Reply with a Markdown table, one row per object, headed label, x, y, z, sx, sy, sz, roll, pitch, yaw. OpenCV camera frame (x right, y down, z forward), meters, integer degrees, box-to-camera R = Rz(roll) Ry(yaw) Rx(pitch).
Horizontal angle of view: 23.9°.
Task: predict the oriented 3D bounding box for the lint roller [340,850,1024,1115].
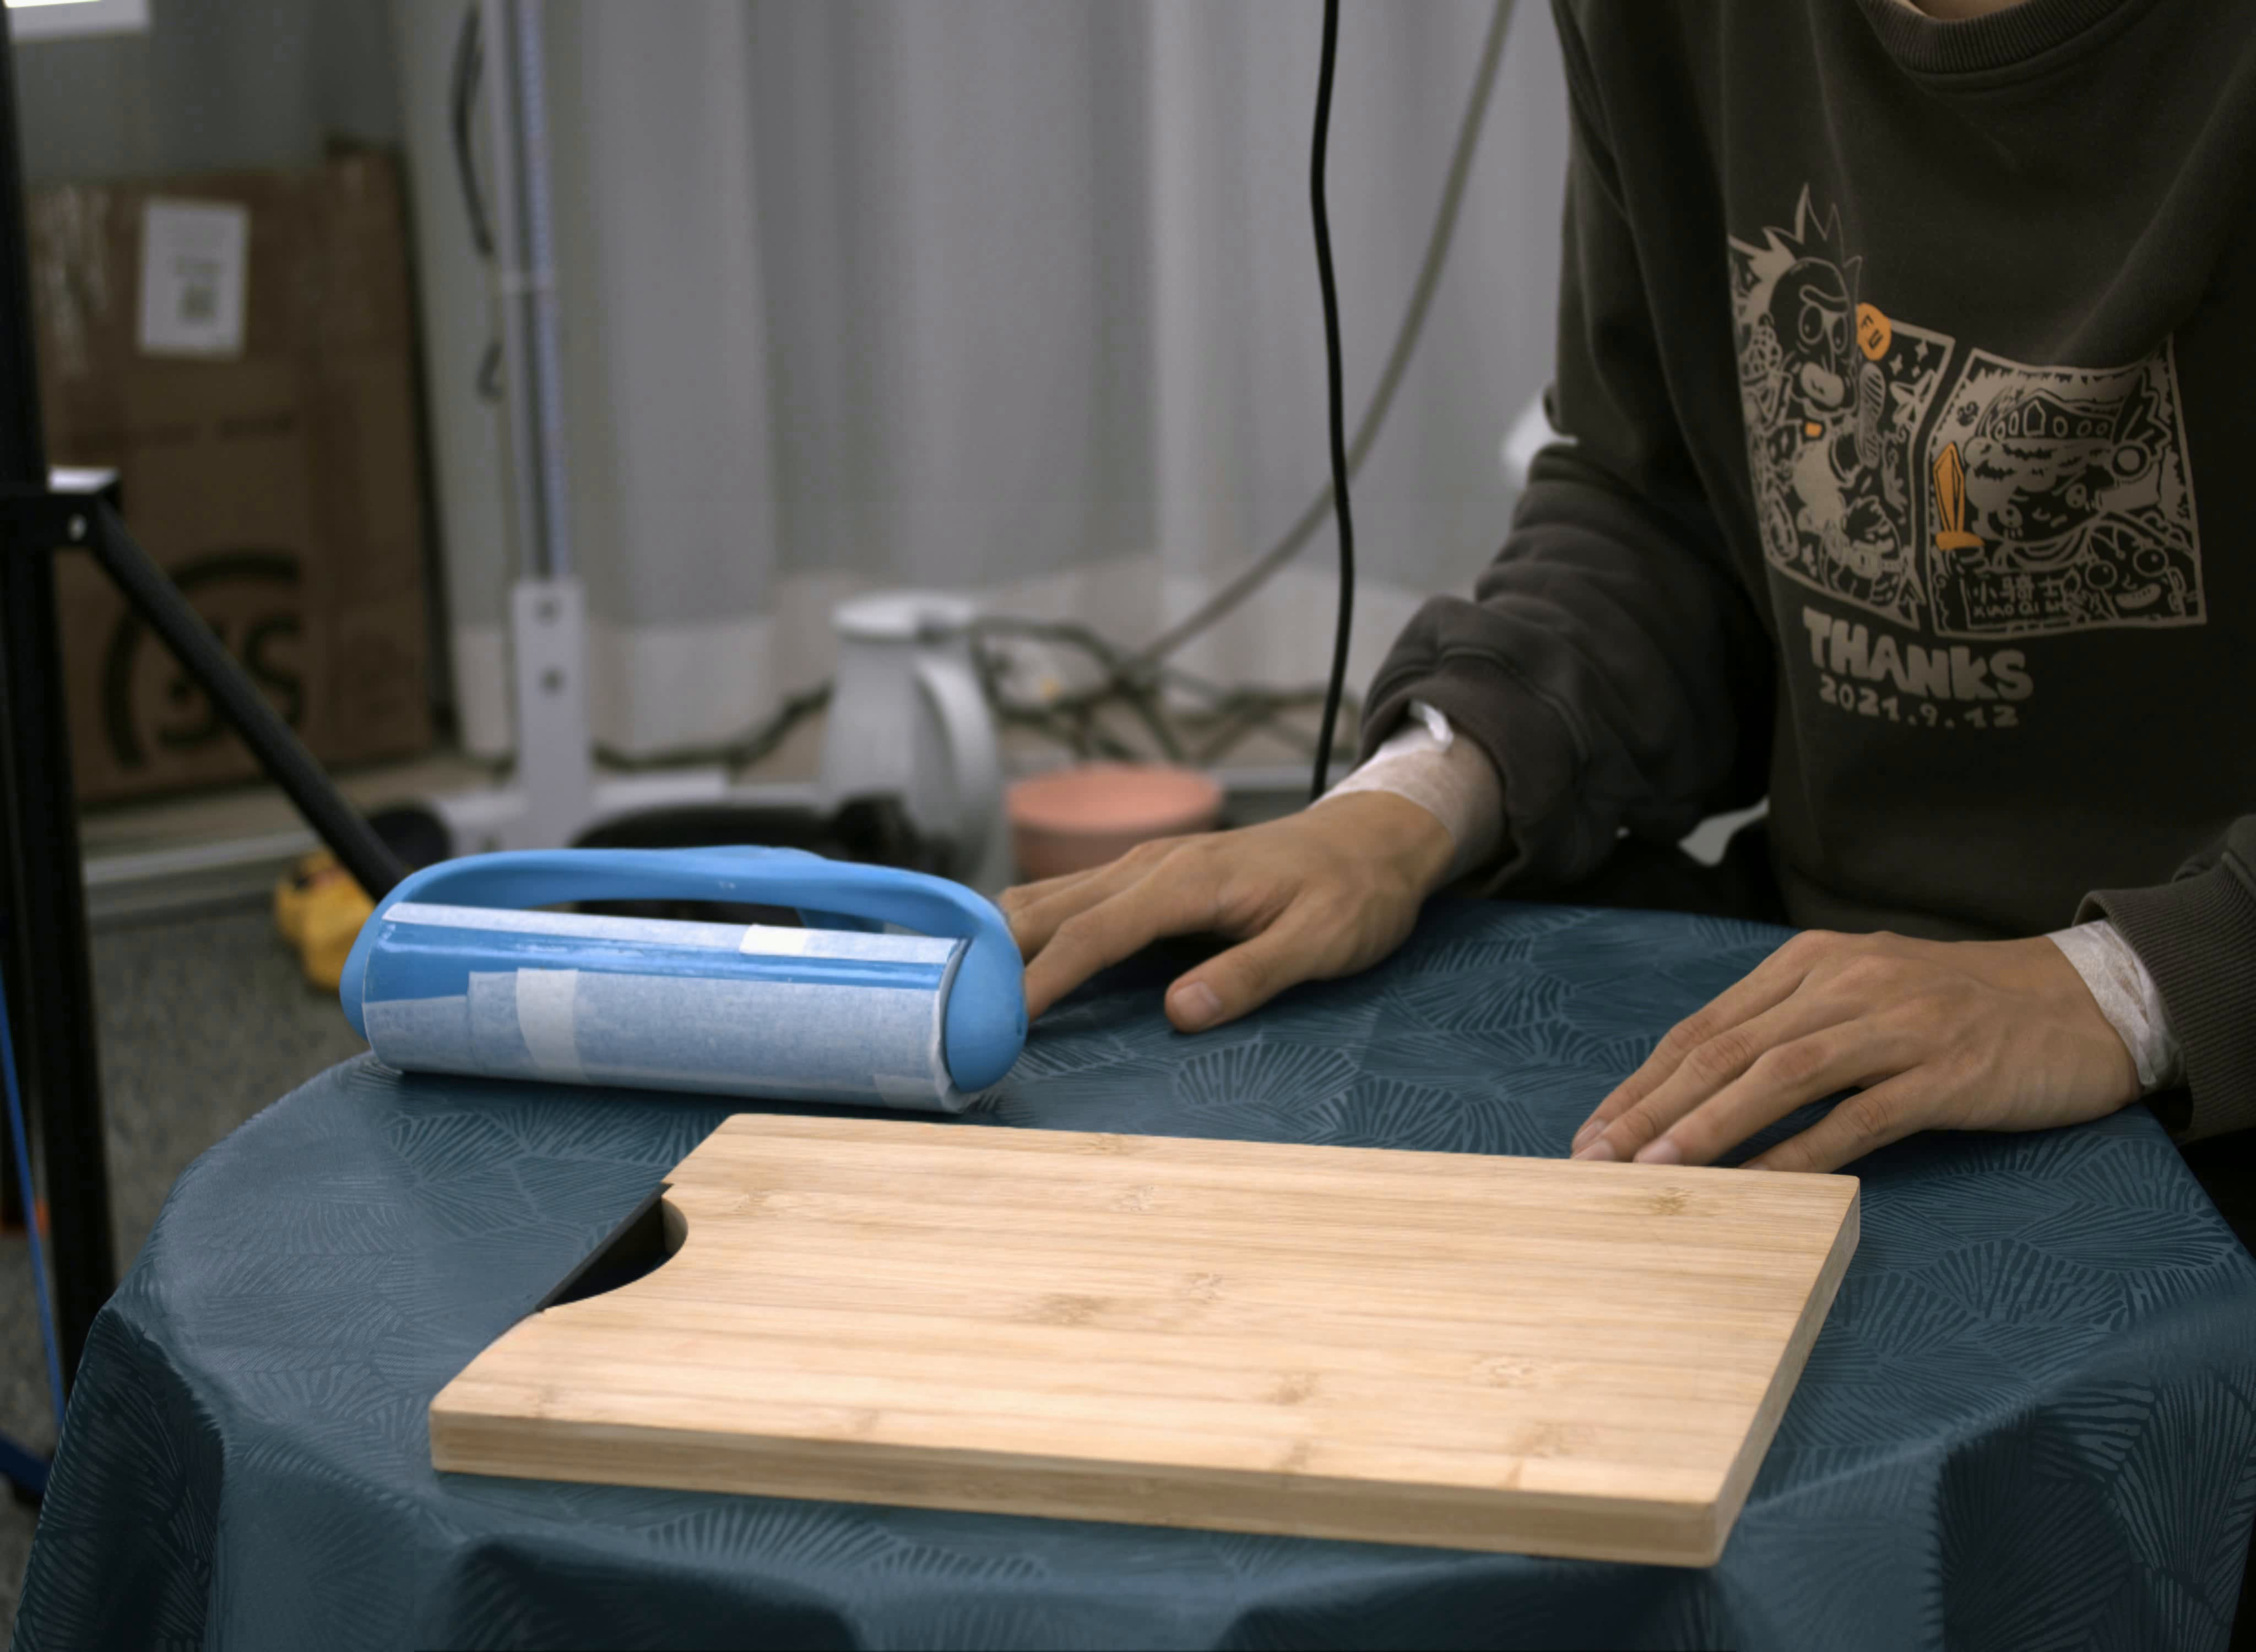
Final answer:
| label | x | y | z | sx | sy | sz | roll | pitch | yaw |
| --- | --- | --- | --- | --- | --- | --- | --- | --- | --- |
| lint roller | -0.125 | 0.038 | 1.725 | 0.231 | 0.068 | 0.178 | 1 | 18 | 18 |

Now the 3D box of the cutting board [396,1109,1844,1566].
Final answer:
| label | x | y | z | sx | sy | sz | roll | pitch | yaw |
| --- | --- | --- | --- | --- | --- | --- | --- | --- | --- |
| cutting board | 0.006 | 0.134 | 1.441 | 0.352 | 0.023 | 0.248 | 2 | 16 | 16 |
